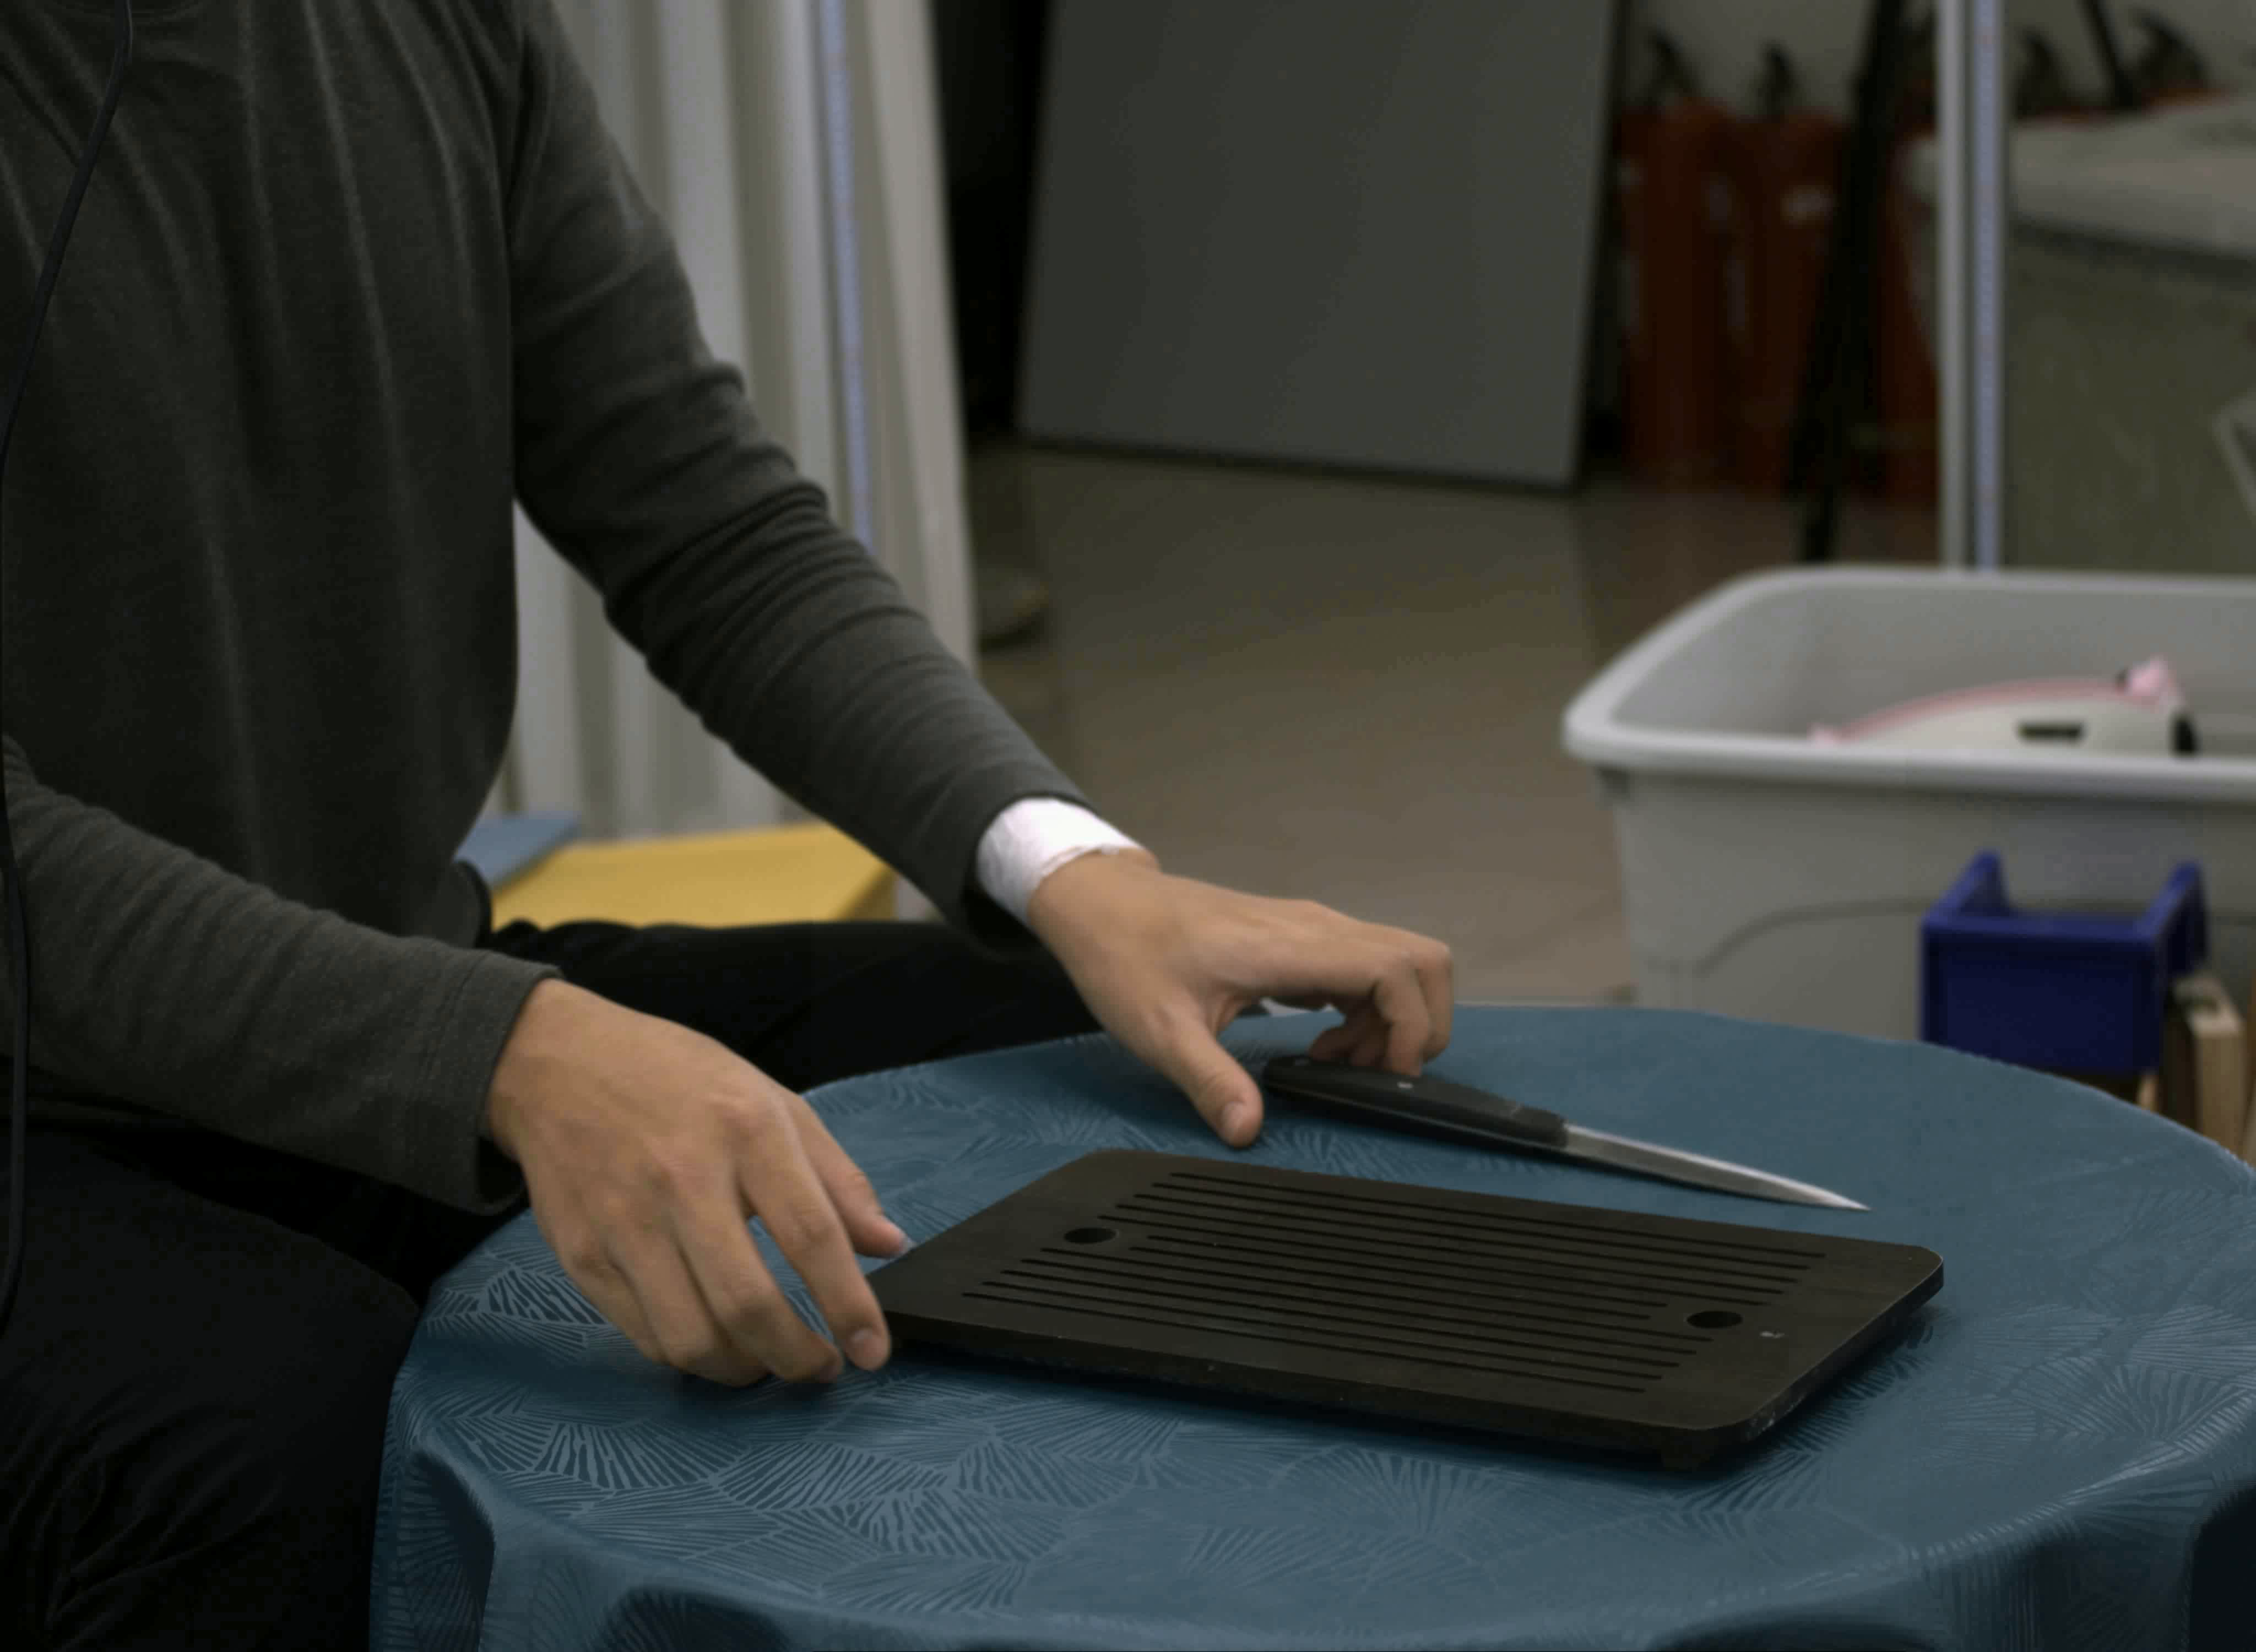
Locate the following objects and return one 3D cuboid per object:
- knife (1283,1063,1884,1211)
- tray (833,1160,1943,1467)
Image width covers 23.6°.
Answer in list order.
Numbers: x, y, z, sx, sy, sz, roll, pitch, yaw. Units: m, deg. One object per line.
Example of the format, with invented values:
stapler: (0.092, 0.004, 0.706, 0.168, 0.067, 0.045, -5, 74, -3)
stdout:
knife: (0.145, 0.105, 1.776, 0.240, 0.016, 0.024, 10, 18, 38)
tray: (0.077, 0.144, 1.620, 0.307, 0.019, 0.167, 4, 16, 32)
